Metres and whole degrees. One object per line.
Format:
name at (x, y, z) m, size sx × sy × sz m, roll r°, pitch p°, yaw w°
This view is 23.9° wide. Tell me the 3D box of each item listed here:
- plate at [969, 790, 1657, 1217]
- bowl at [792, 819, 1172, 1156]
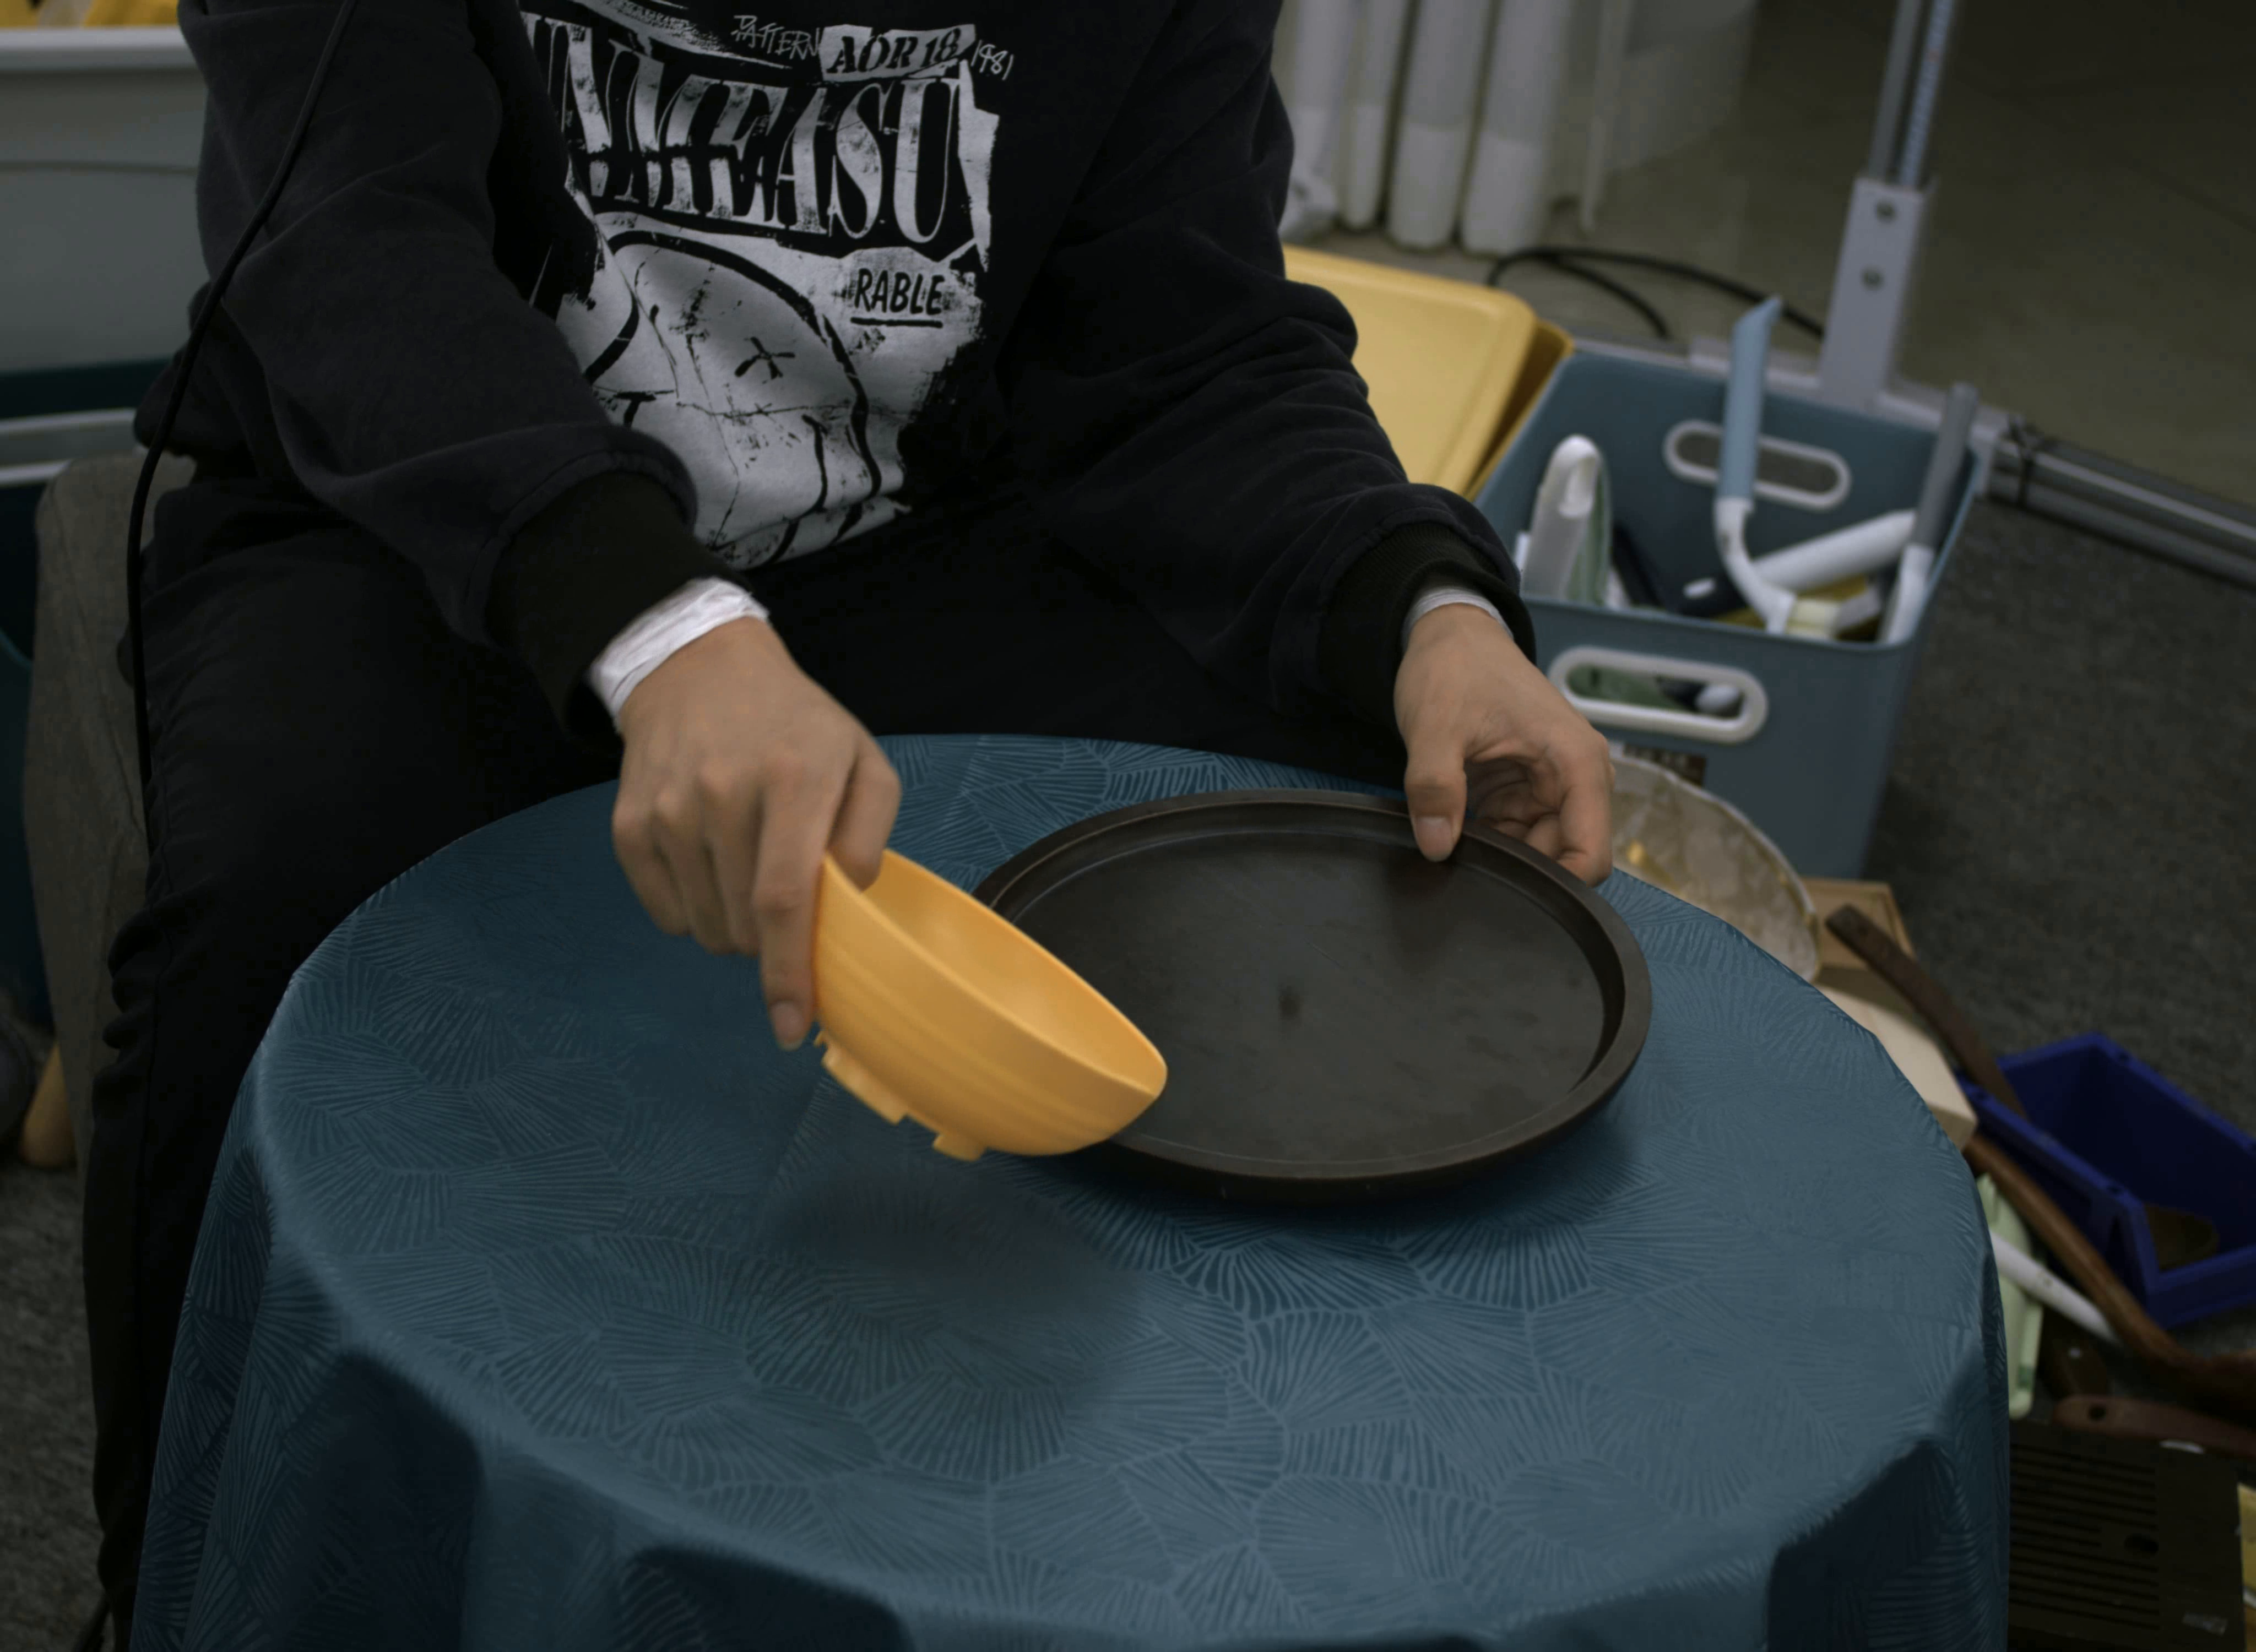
plate at (0.061, 0.061, 1.887) m, size 0.254 × 0.029 × 0.256 m, roll 0°, pitch 31°, yaw 0°
bowl at (-0.059, 0.064, 1.731) m, size 0.145 × 0.060 × 0.145 m, roll 36°, pitch 8°, yaw -6°
